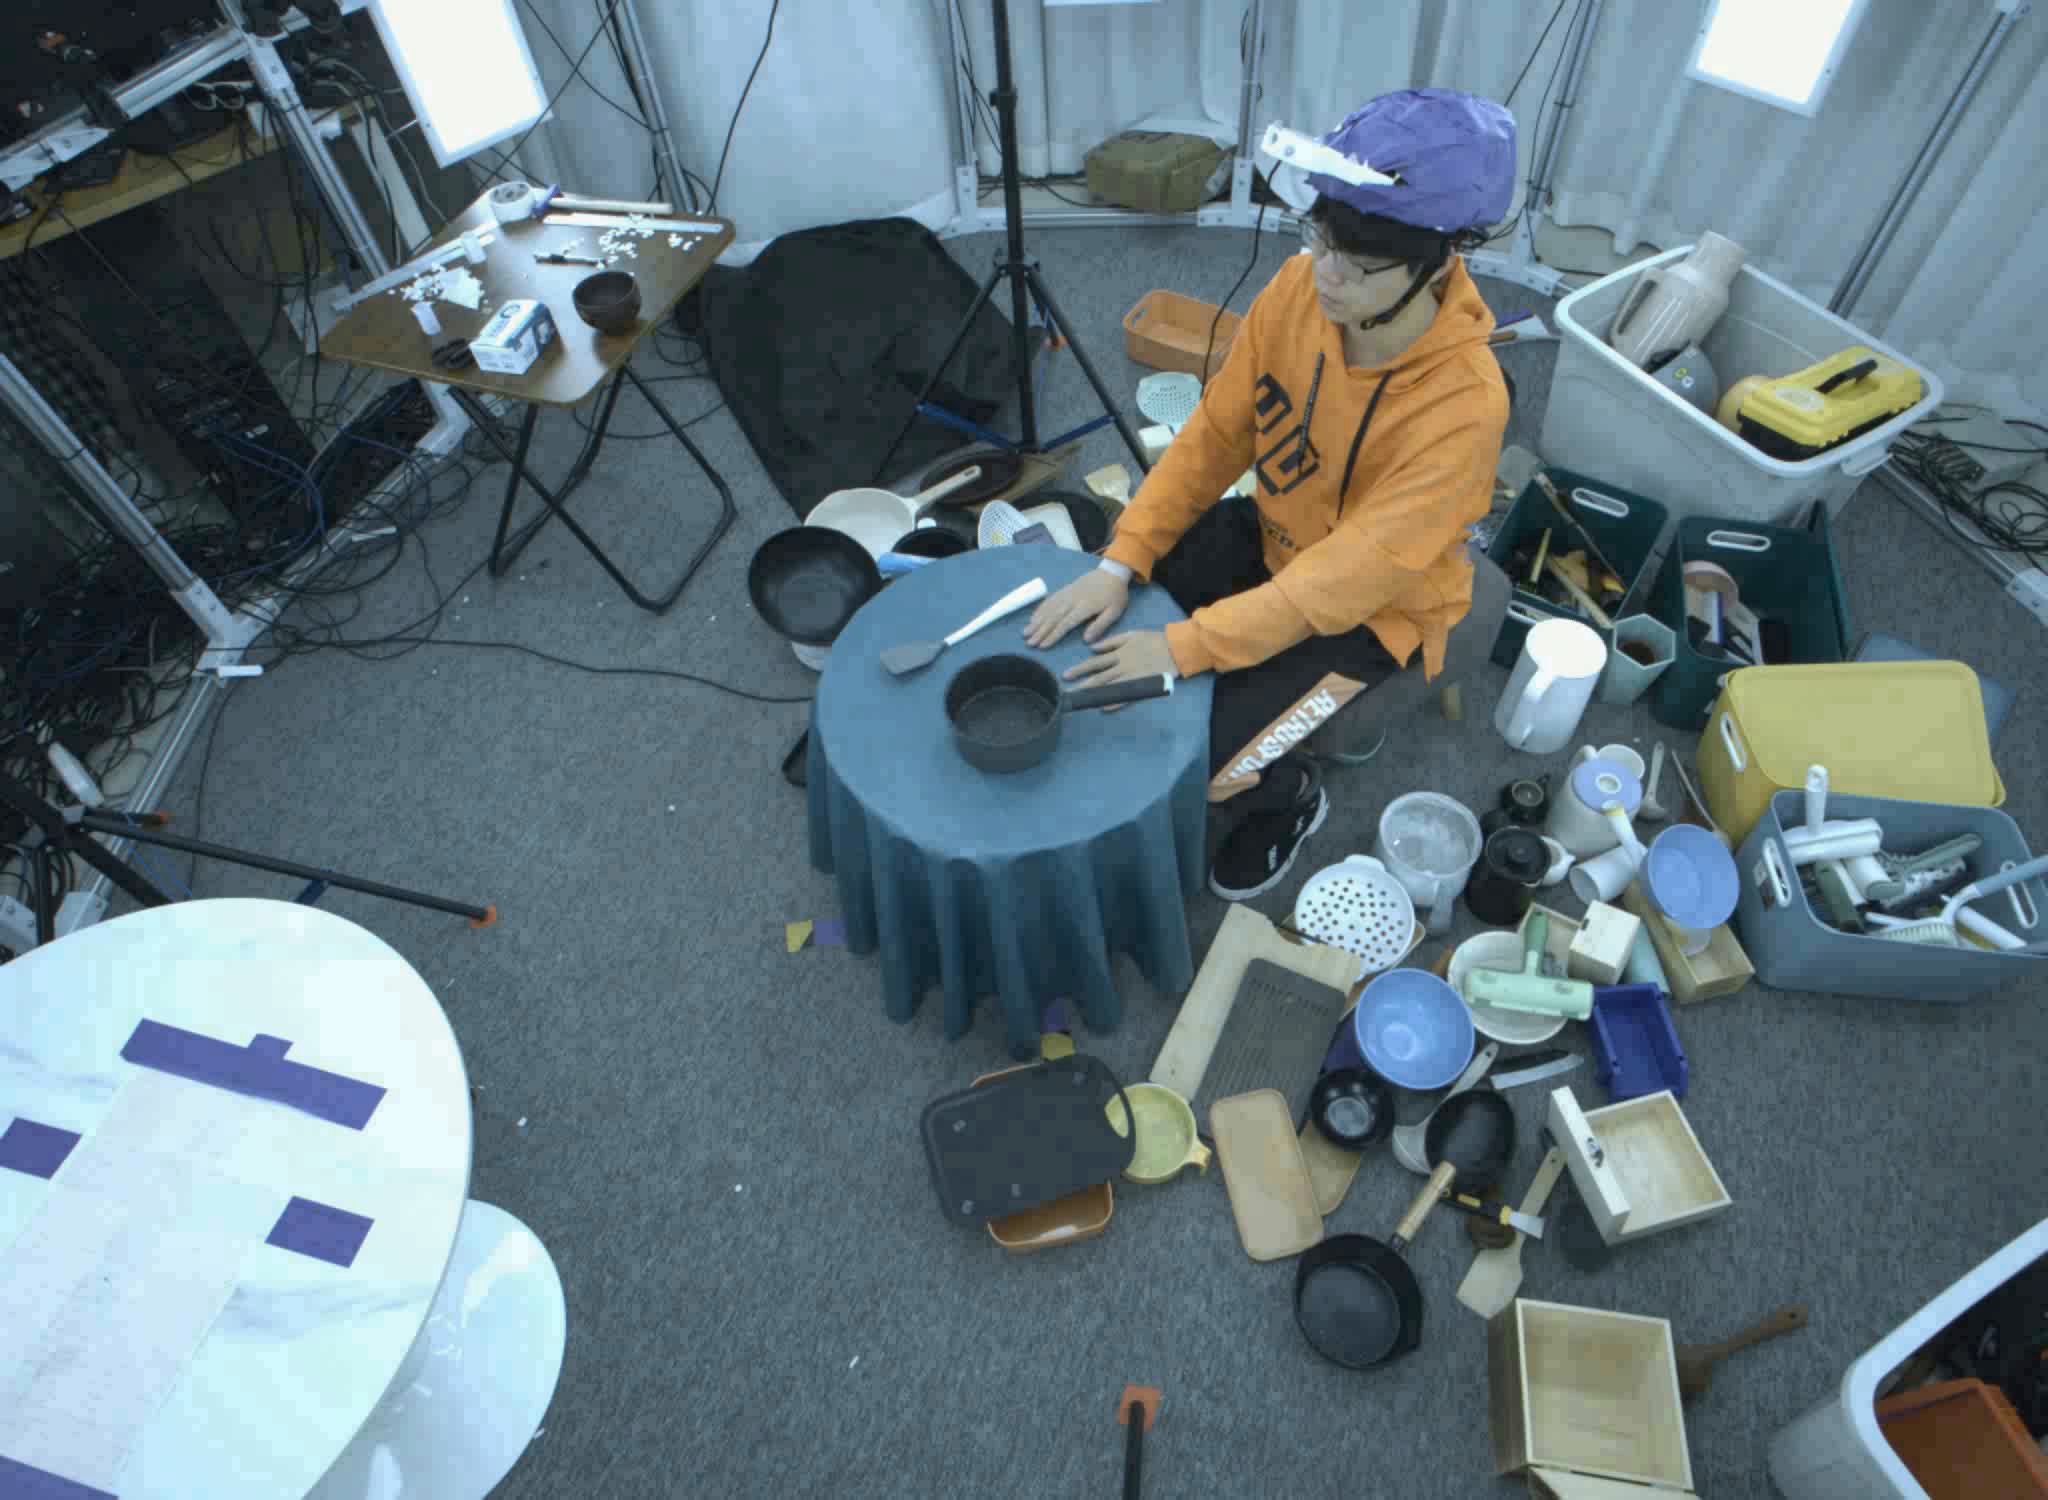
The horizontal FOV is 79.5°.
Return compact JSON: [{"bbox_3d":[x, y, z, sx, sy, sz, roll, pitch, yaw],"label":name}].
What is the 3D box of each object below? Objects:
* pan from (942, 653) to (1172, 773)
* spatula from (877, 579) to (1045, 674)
[{"bbox_3d":[0.050,-0.059,1.775,0.328,0.087,0.170,-3,55,2],"label":"pan"},{"bbox_3d":[-0.094,-0.191,1.906,0.290,0.032,0.057,-29,63,-18],"label":"spatula"}]
